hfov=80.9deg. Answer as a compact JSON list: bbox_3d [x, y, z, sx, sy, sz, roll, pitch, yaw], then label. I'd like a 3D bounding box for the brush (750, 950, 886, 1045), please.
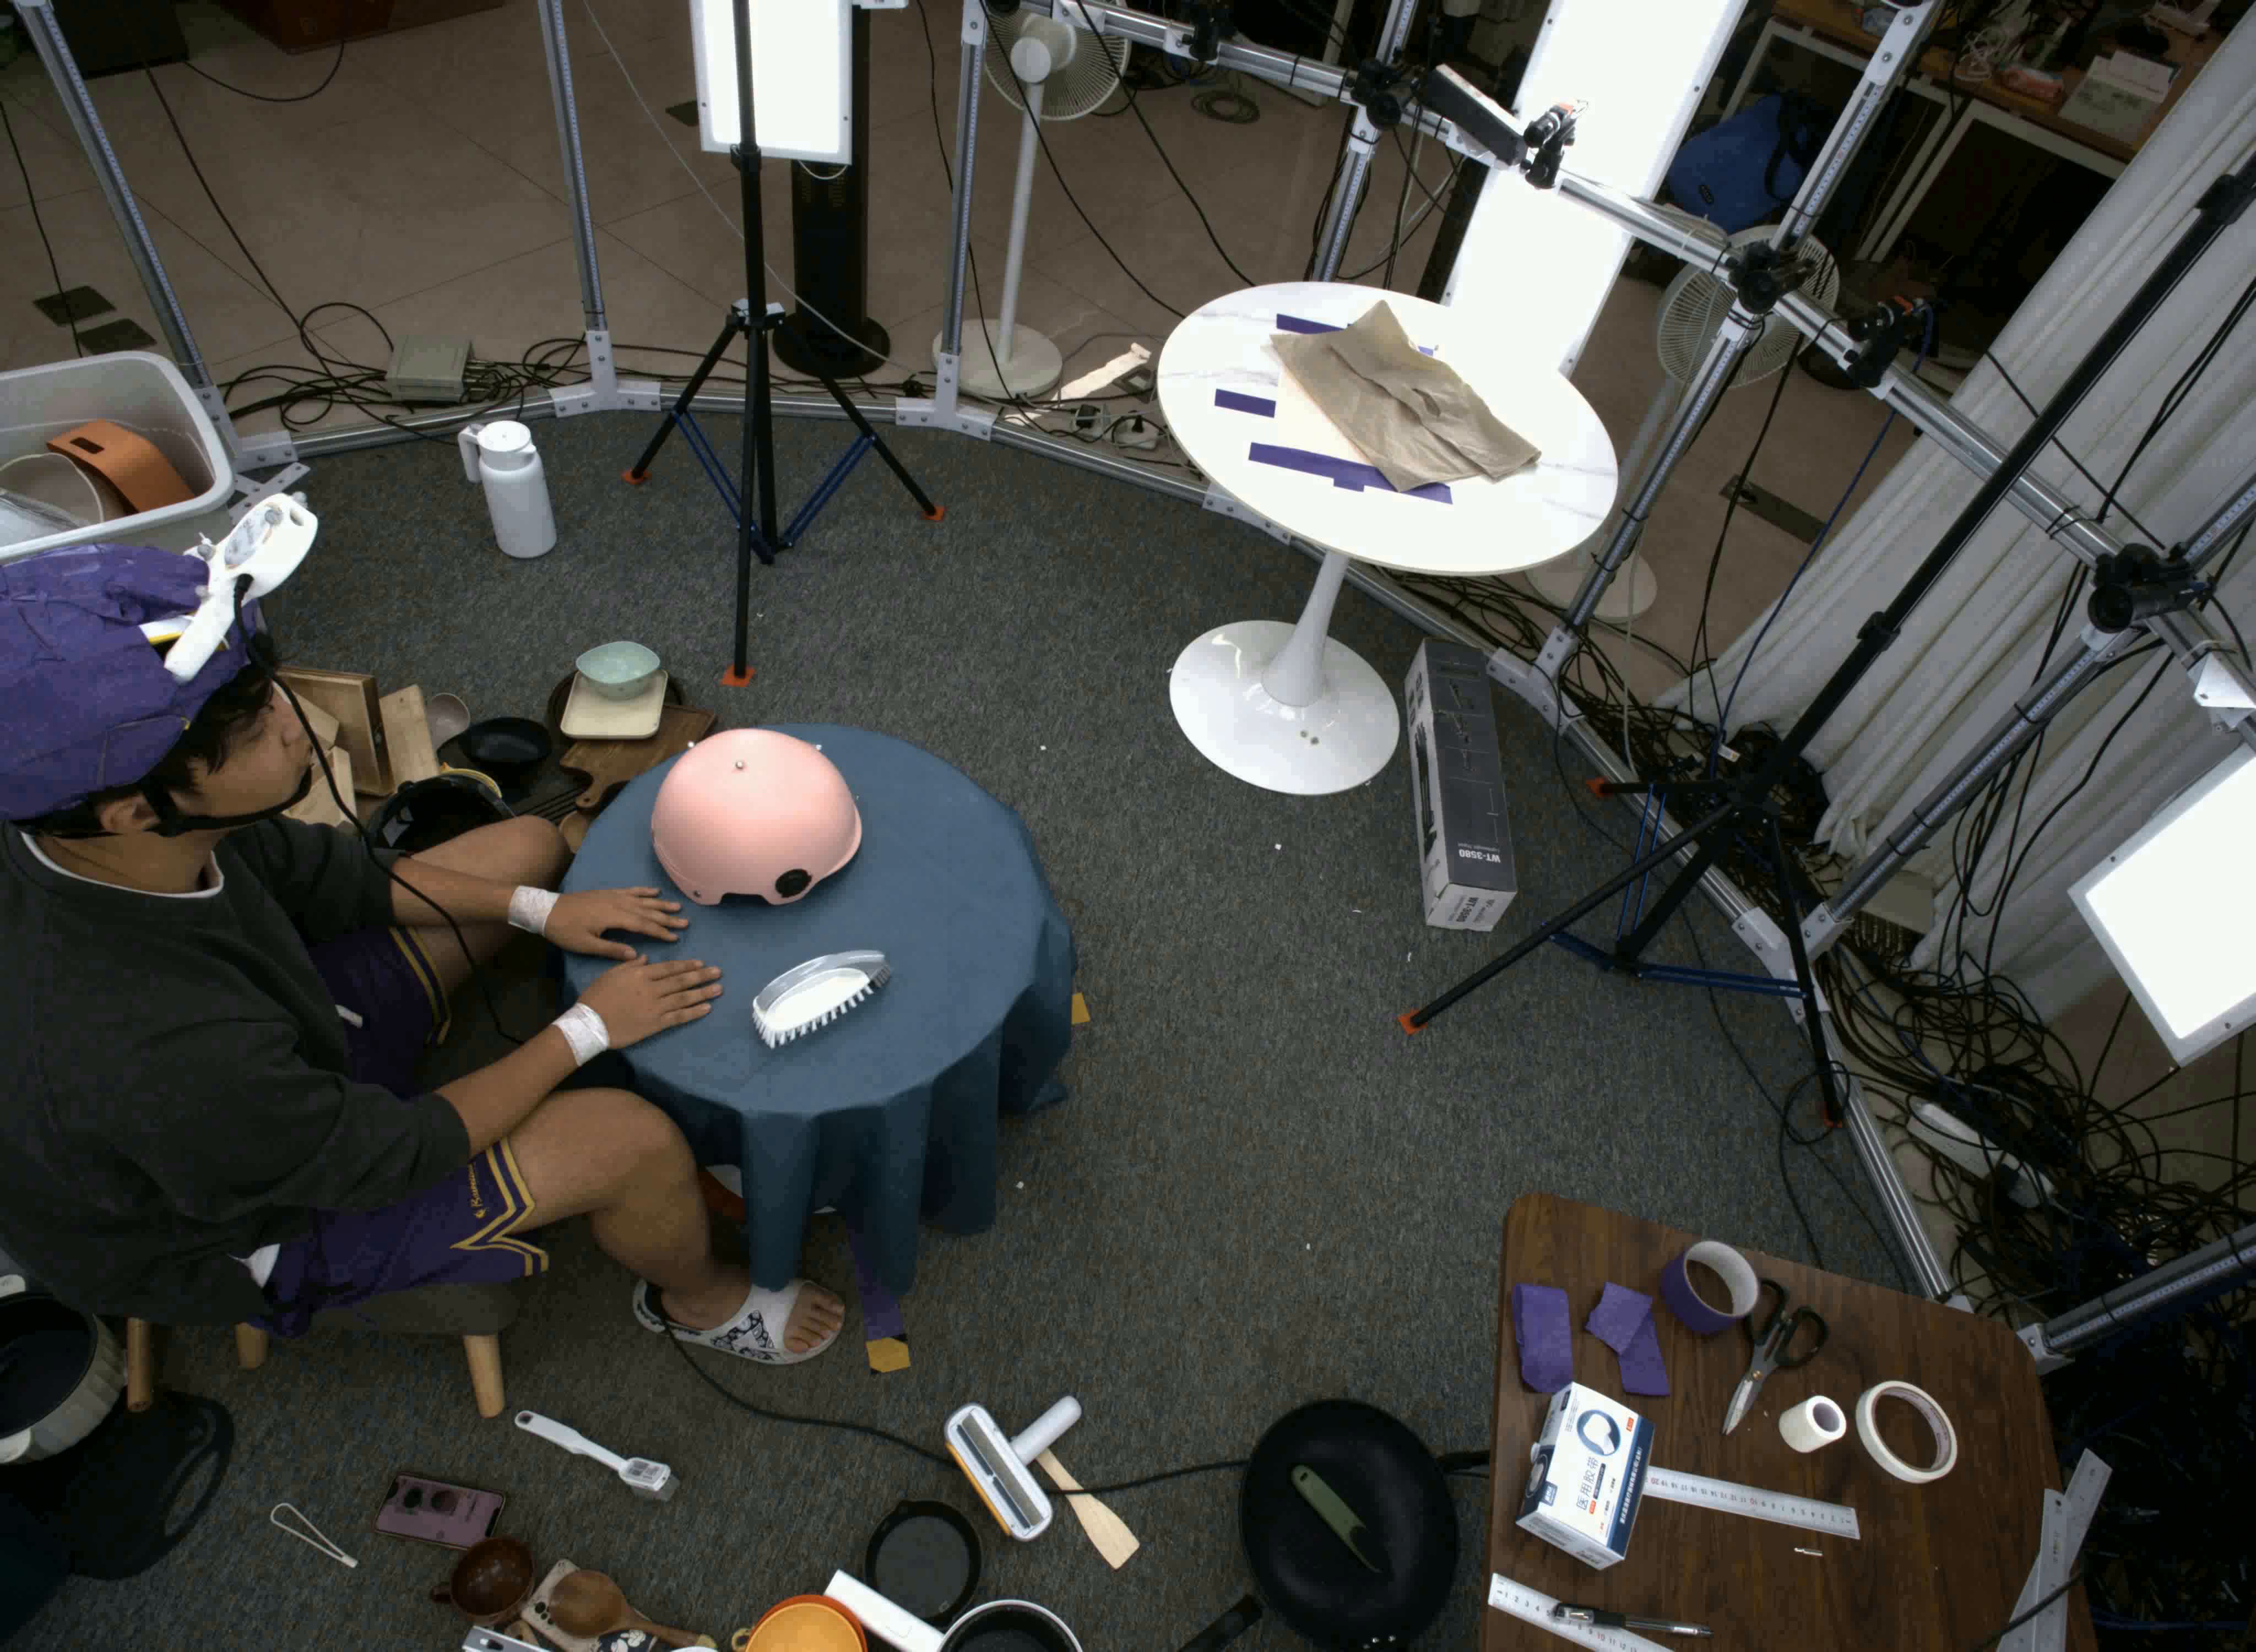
[{"bbox_3d":[-0.364,0.184,1.548,0.176,0.096,0.060,-24,61,-30],"label":"brush"}]

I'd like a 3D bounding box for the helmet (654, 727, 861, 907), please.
[{"bbox_3d":[-0.469,-0.032,1.644,0.268,0.162,0.228,-8,55,-24],"label":"helmet"}]
